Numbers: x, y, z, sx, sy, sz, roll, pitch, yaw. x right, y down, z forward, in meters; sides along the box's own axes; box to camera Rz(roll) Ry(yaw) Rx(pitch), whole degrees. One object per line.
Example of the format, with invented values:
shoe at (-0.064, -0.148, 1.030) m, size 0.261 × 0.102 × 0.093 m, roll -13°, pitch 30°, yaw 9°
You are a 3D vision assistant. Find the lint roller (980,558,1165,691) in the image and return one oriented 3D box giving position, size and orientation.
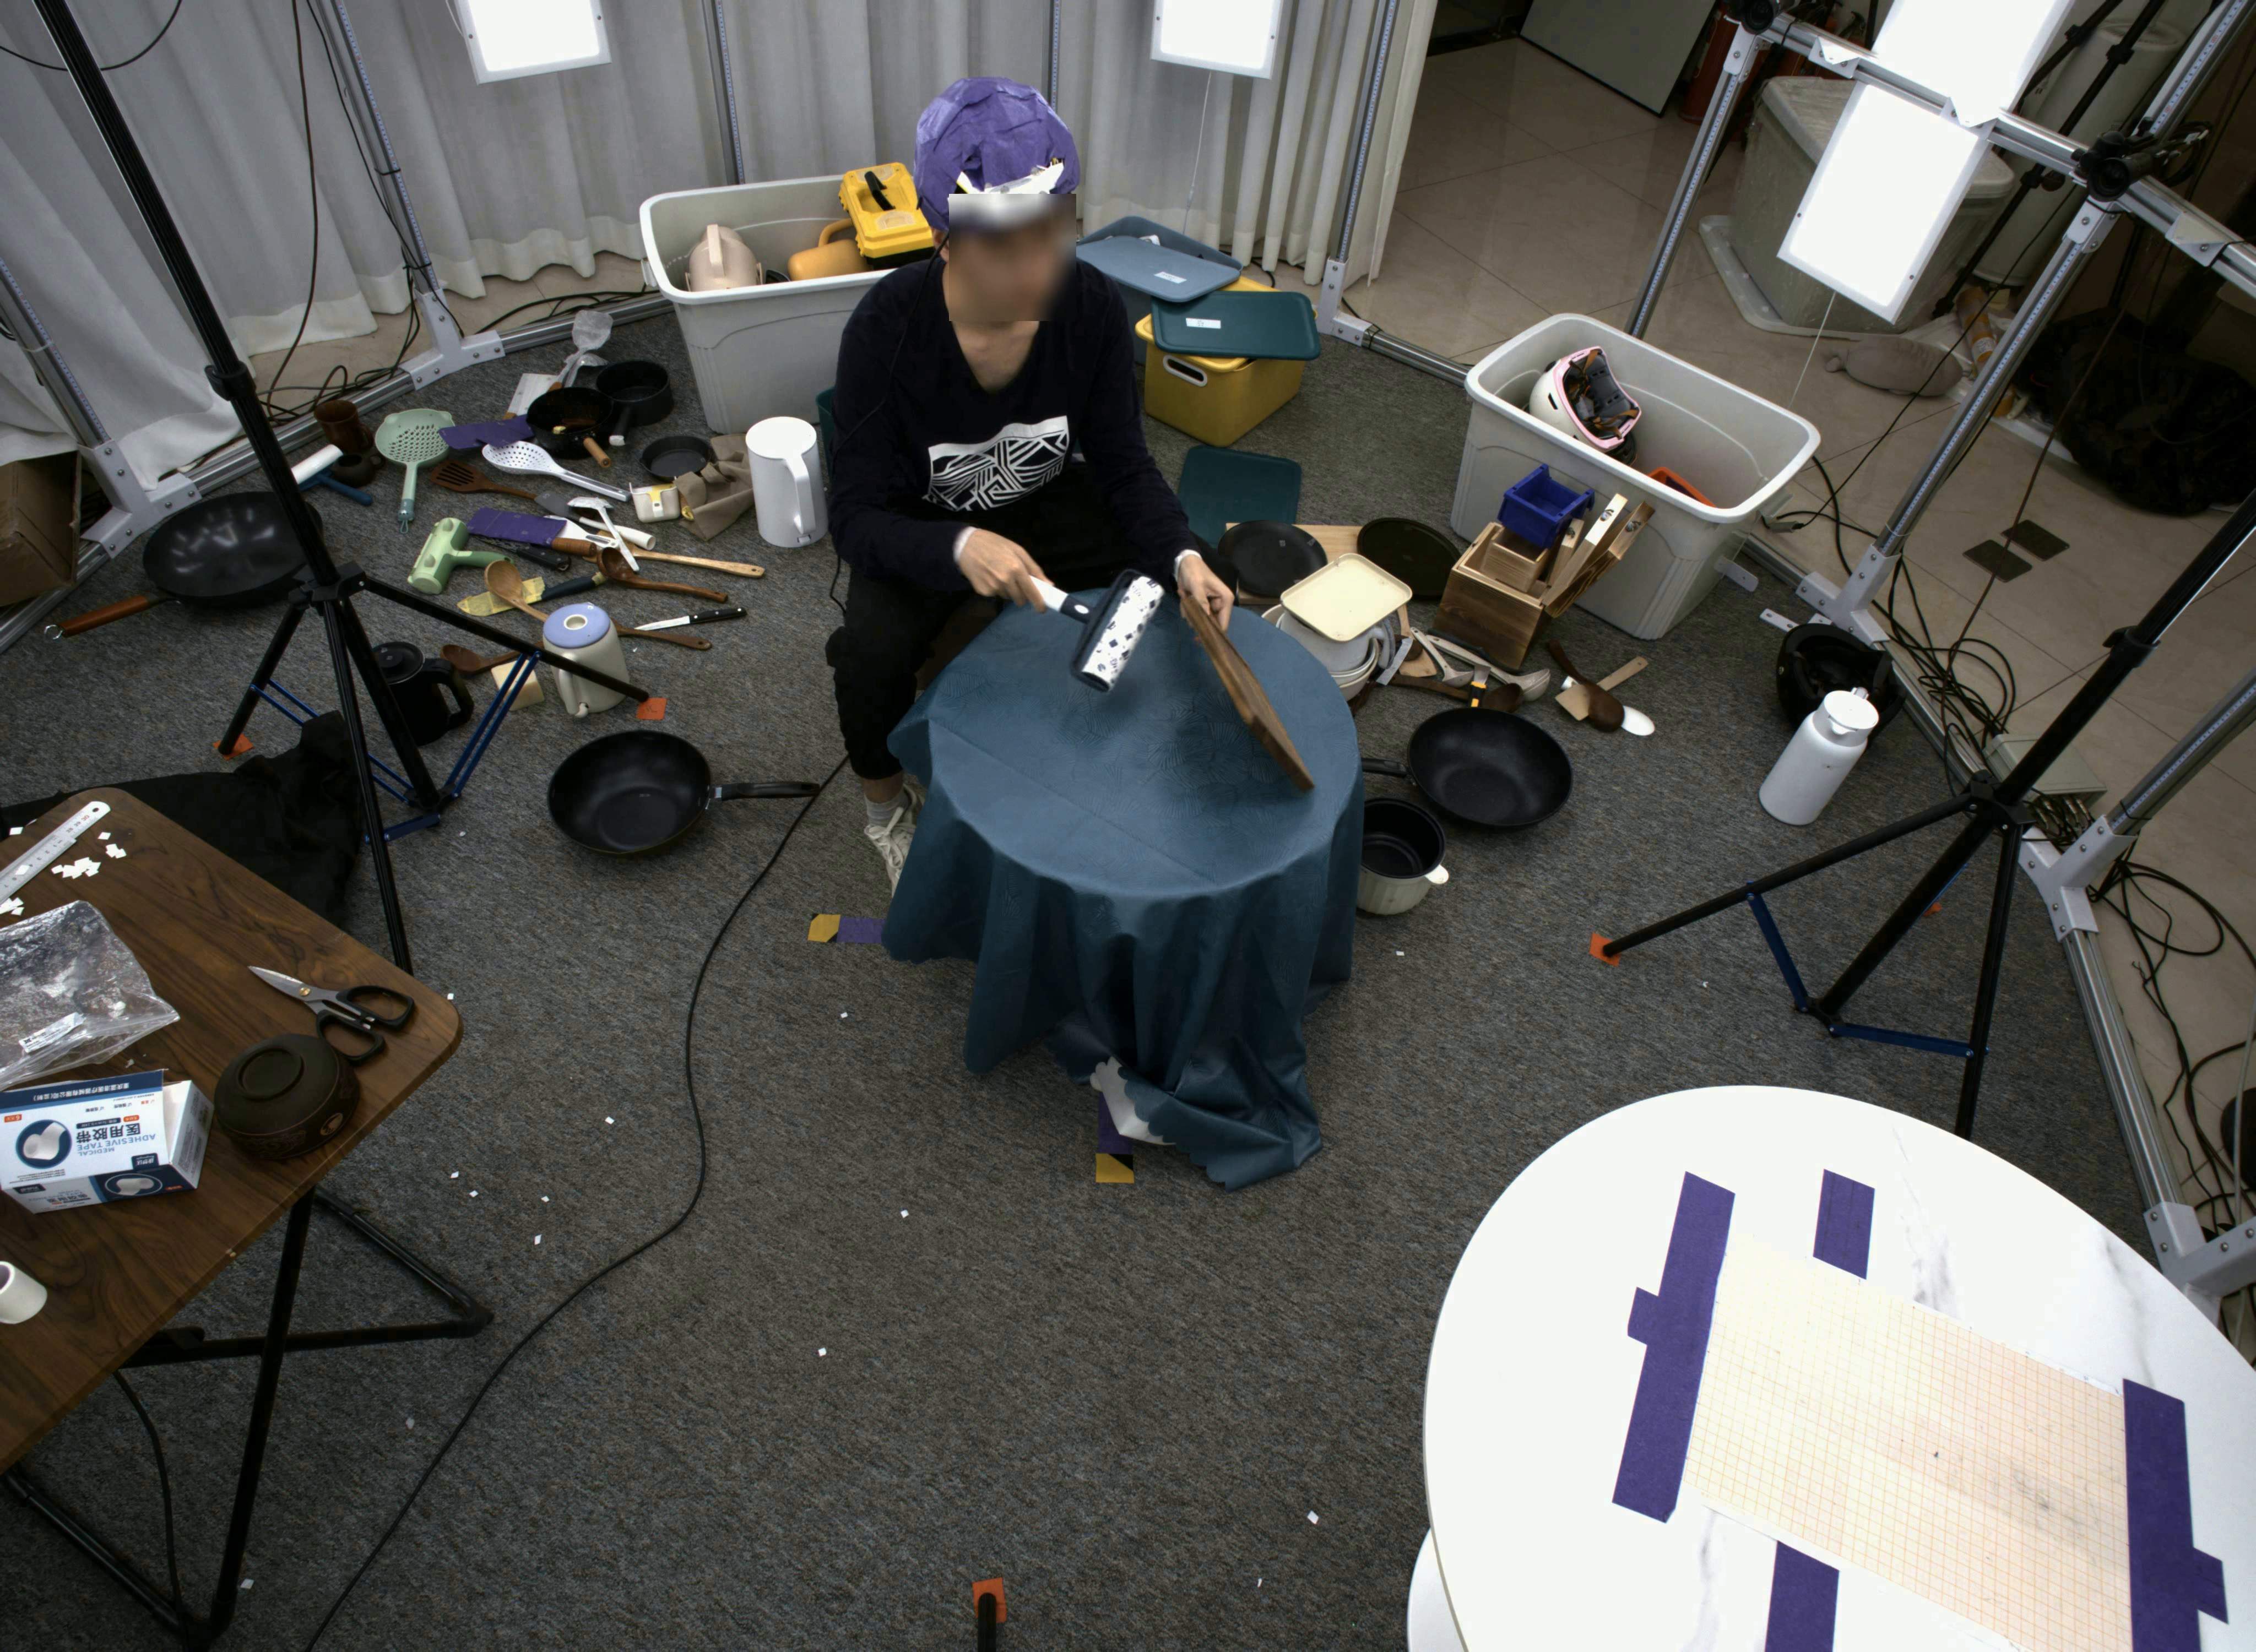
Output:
lint roller at (-0.093, -0.311, 1.775) m, size 0.248 × 0.050 × 0.178 m, roll 26°, pitch 77°, yaw 6°

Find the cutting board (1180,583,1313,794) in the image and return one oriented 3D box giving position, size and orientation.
cutting board at (0.144, -0.213, 1.749) m, size 0.023 × 0.197 × 0.361 m, roll -33°, pitch 49°, yaw 13°
